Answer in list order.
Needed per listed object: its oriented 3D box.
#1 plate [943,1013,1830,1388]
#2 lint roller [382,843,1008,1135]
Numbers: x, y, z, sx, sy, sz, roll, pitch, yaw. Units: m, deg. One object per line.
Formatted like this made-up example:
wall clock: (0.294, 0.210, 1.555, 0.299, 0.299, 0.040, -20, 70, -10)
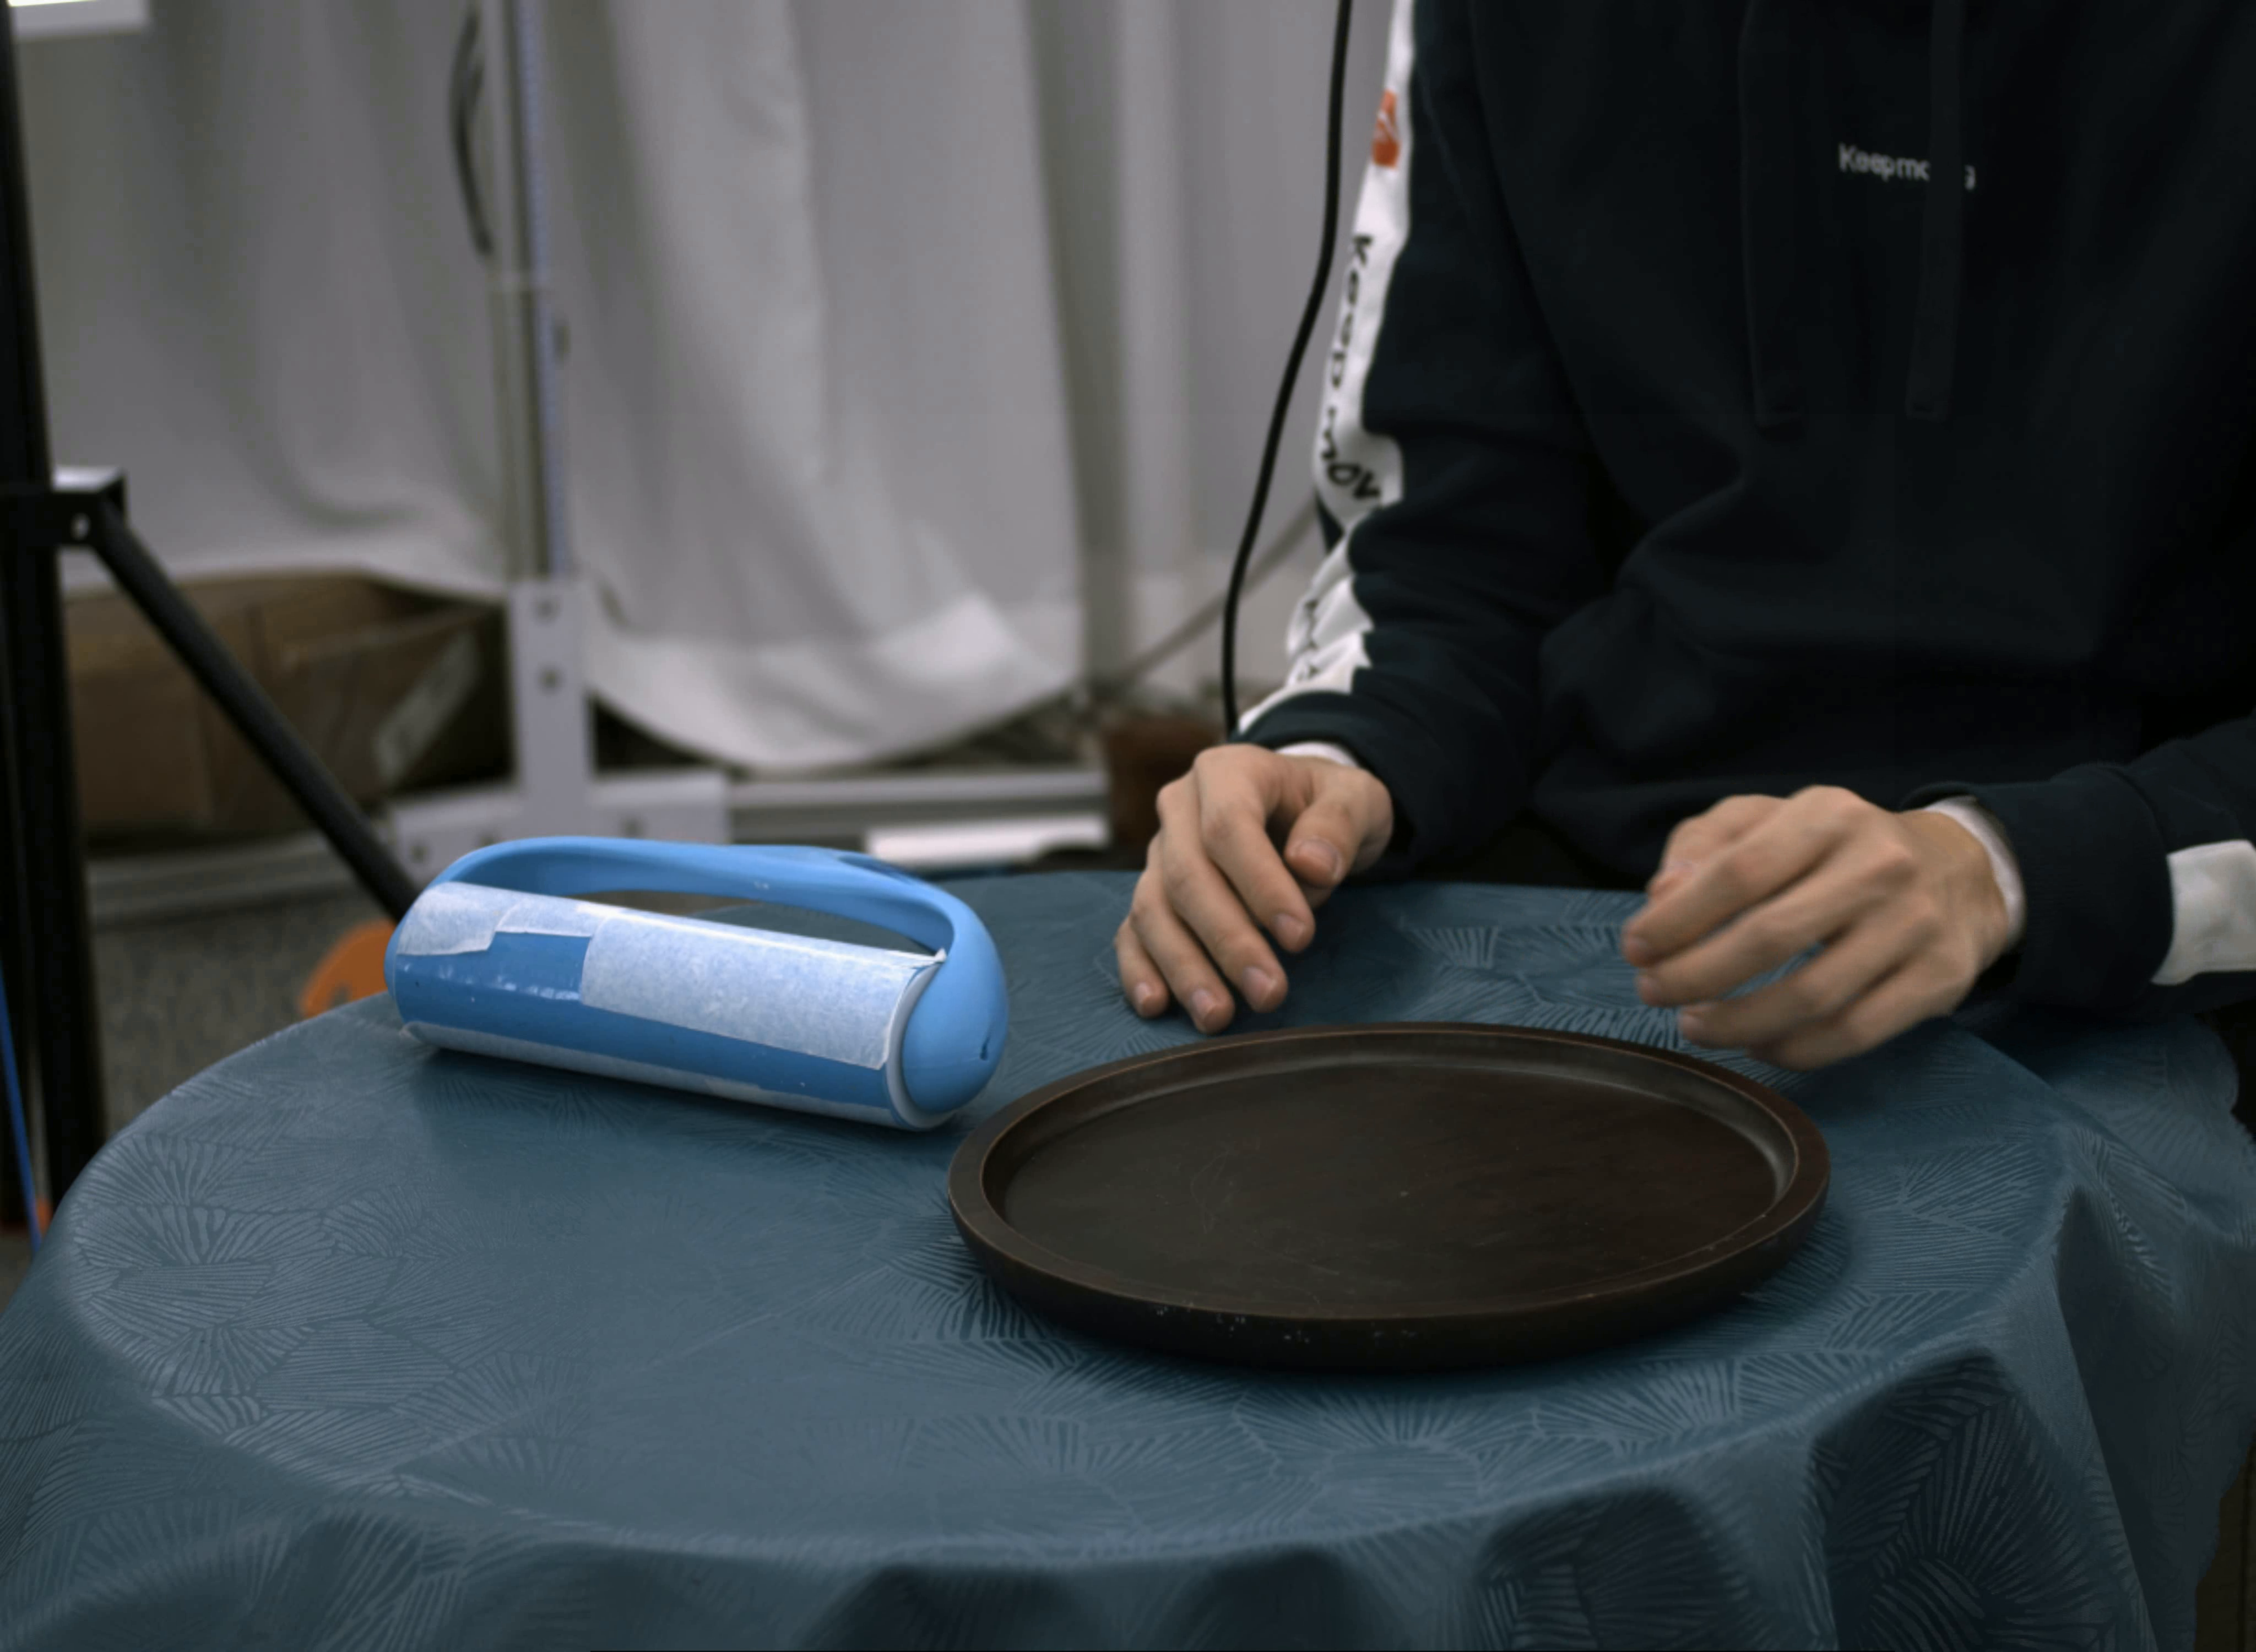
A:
plate: (0.073, 0.106, 1.512, 0.253, 0.029, 0.256, -3, 17, 0)
lint roller: (-0.110, 0.040, 1.714, 0.233, 0.068, 0.177, 5, 18, 31)
